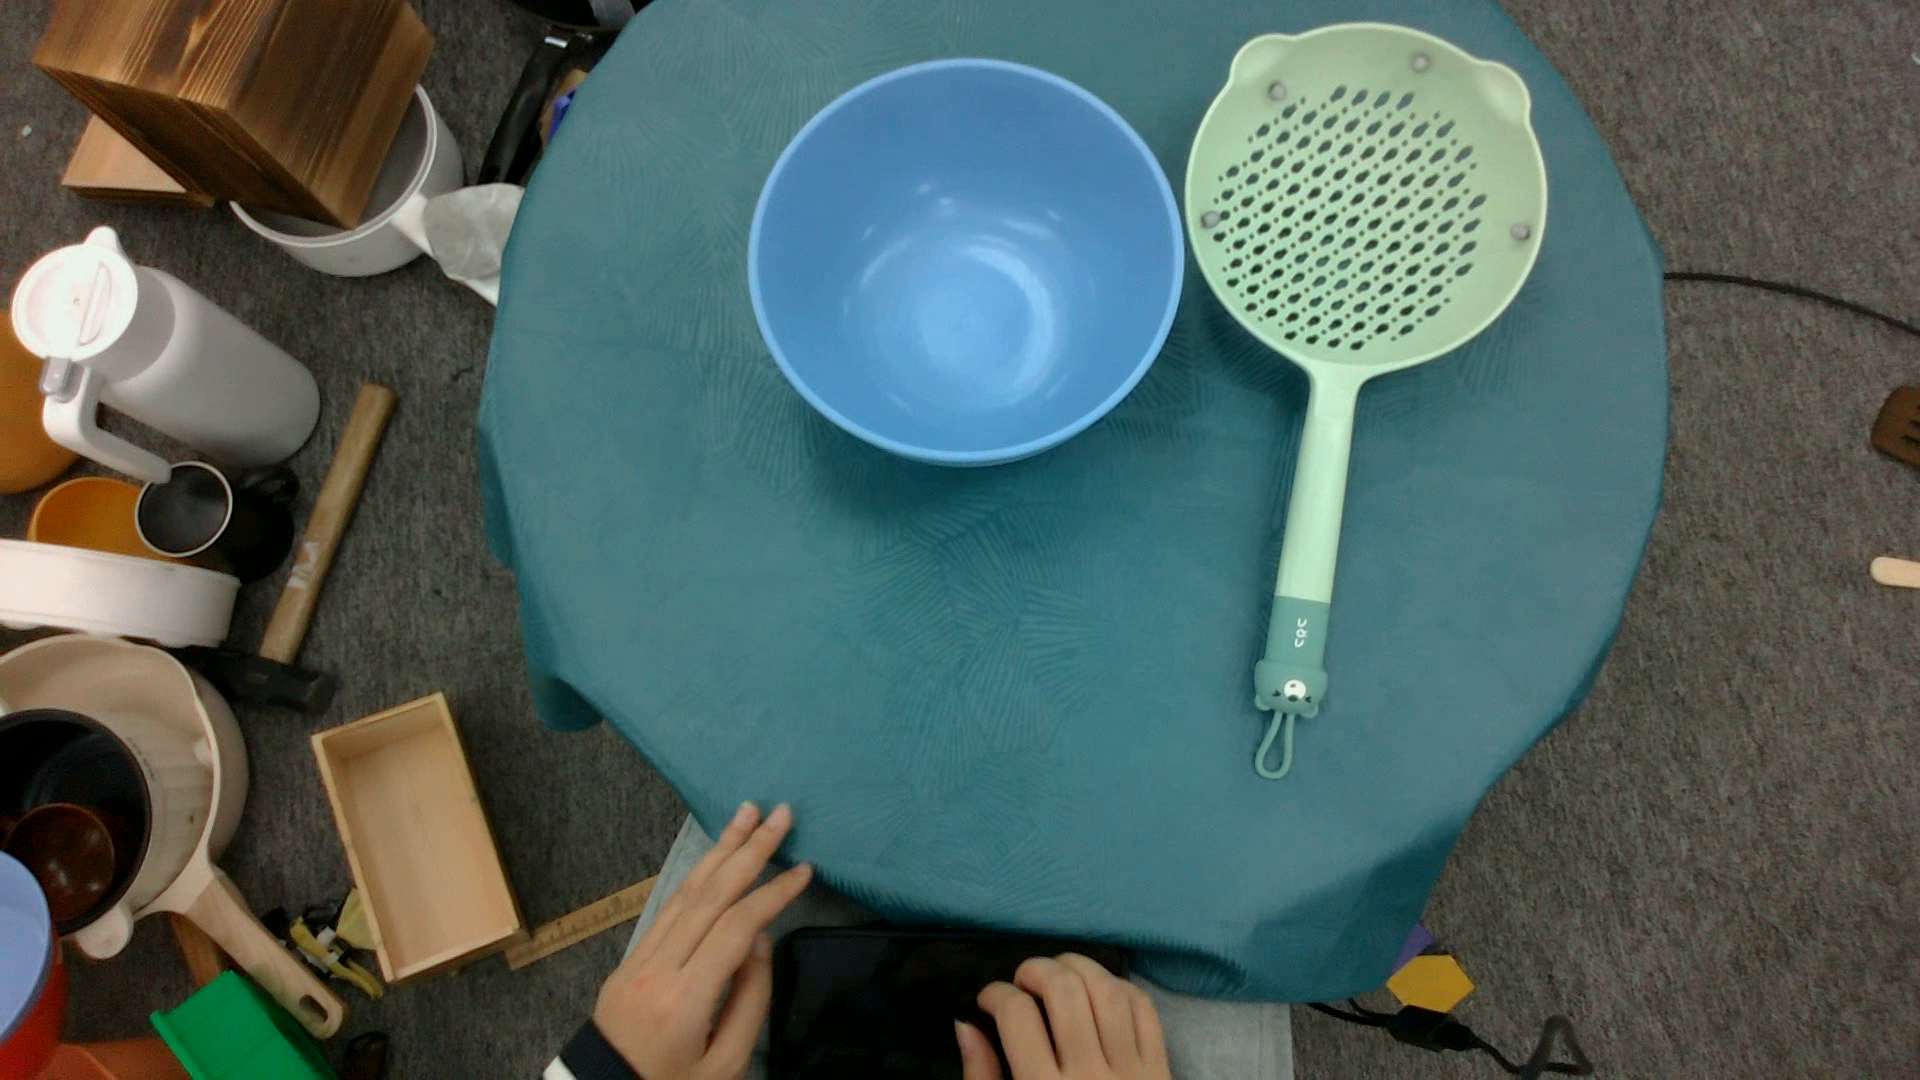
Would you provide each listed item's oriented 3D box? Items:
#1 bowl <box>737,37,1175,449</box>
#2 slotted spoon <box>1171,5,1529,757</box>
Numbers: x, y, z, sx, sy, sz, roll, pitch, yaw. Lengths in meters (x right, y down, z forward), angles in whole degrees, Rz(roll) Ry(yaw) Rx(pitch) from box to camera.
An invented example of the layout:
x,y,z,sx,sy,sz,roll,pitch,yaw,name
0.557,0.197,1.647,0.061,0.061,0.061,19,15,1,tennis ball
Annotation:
x,y,z,sx,sy,sz,roll,pitch,yaw,name
-0.001,-0.127,0.660,0.196,0.095,0.197,0,77,1,bowl
0.171,-0.076,0.663,0.169,0.075,0.359,9,79,5,slotted spoon
